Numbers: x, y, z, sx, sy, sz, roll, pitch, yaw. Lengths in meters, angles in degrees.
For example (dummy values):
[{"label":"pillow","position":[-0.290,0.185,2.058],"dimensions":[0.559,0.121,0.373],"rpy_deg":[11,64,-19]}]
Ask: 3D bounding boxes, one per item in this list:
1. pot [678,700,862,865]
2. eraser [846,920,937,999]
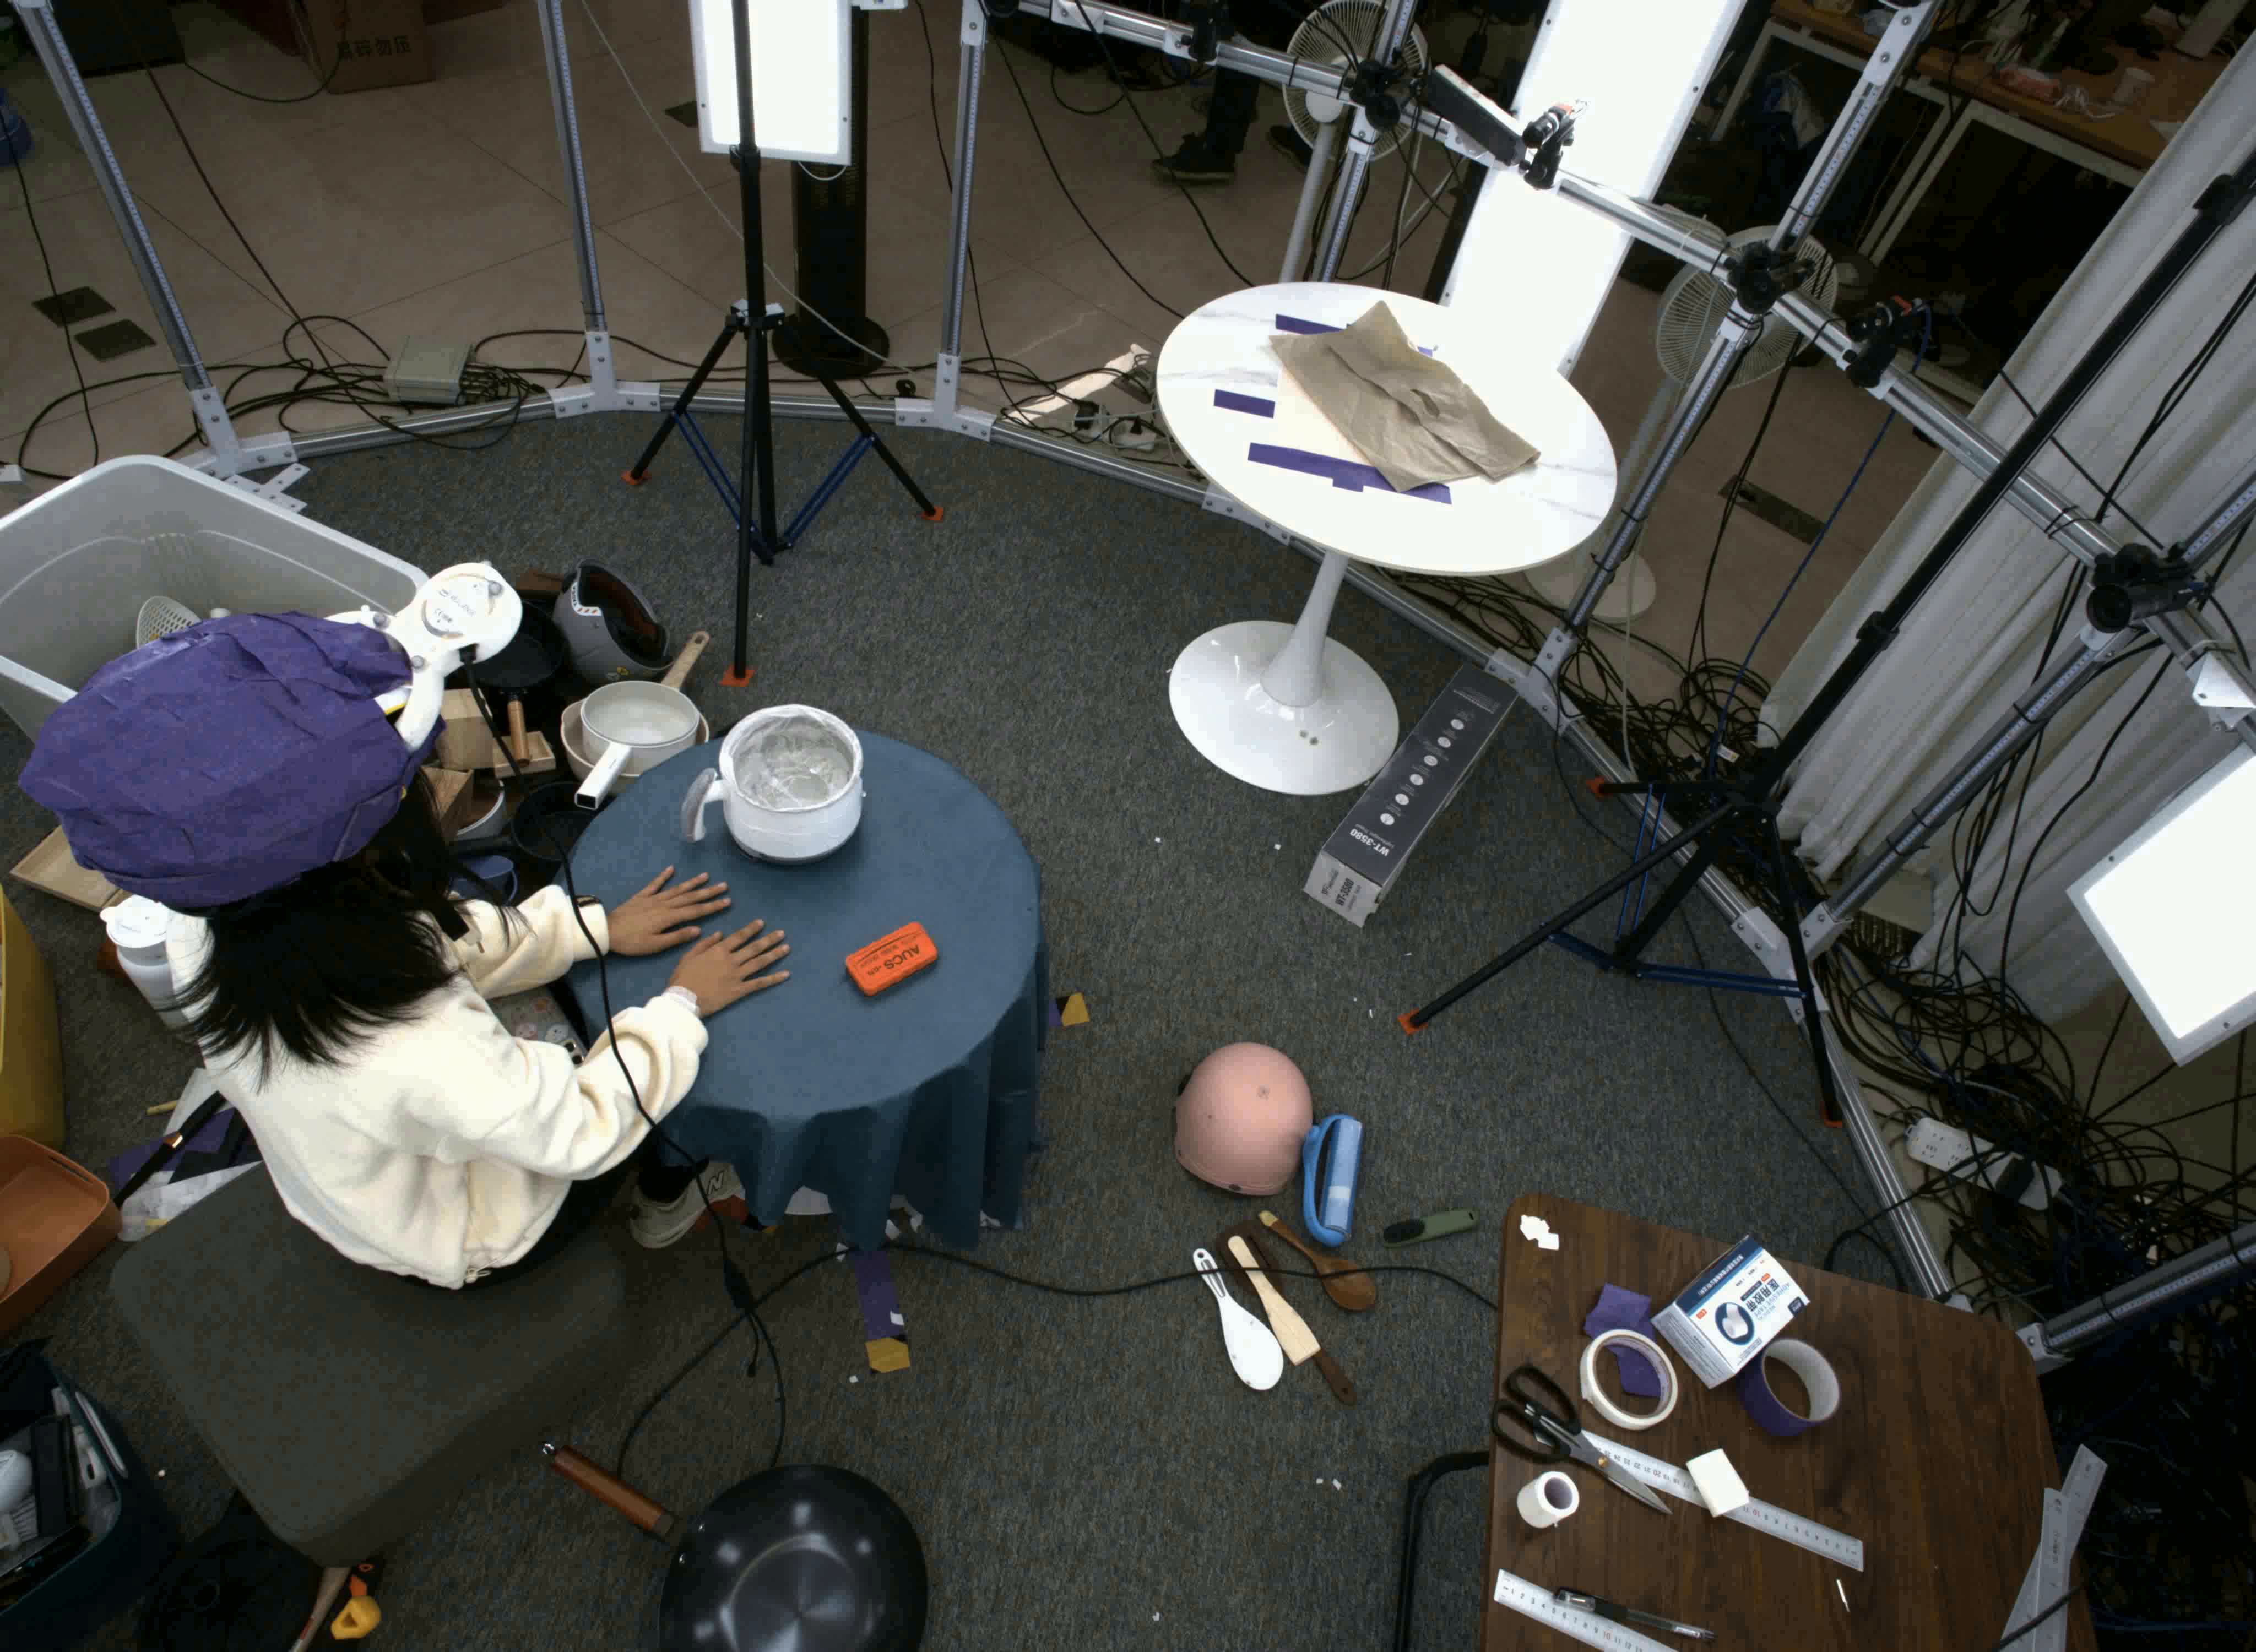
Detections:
[{"label":"pot","position":[-0.458,-0.046,1.653],"dimensions":[0.235,0.139,0.174],"rpy_deg":[-15,58,-25]},{"label":"eraser","position":[-0.293,0.162,1.613],"dimensions":[0.108,0.023,0.057],"rpy_deg":[-31,66,-29]}]
